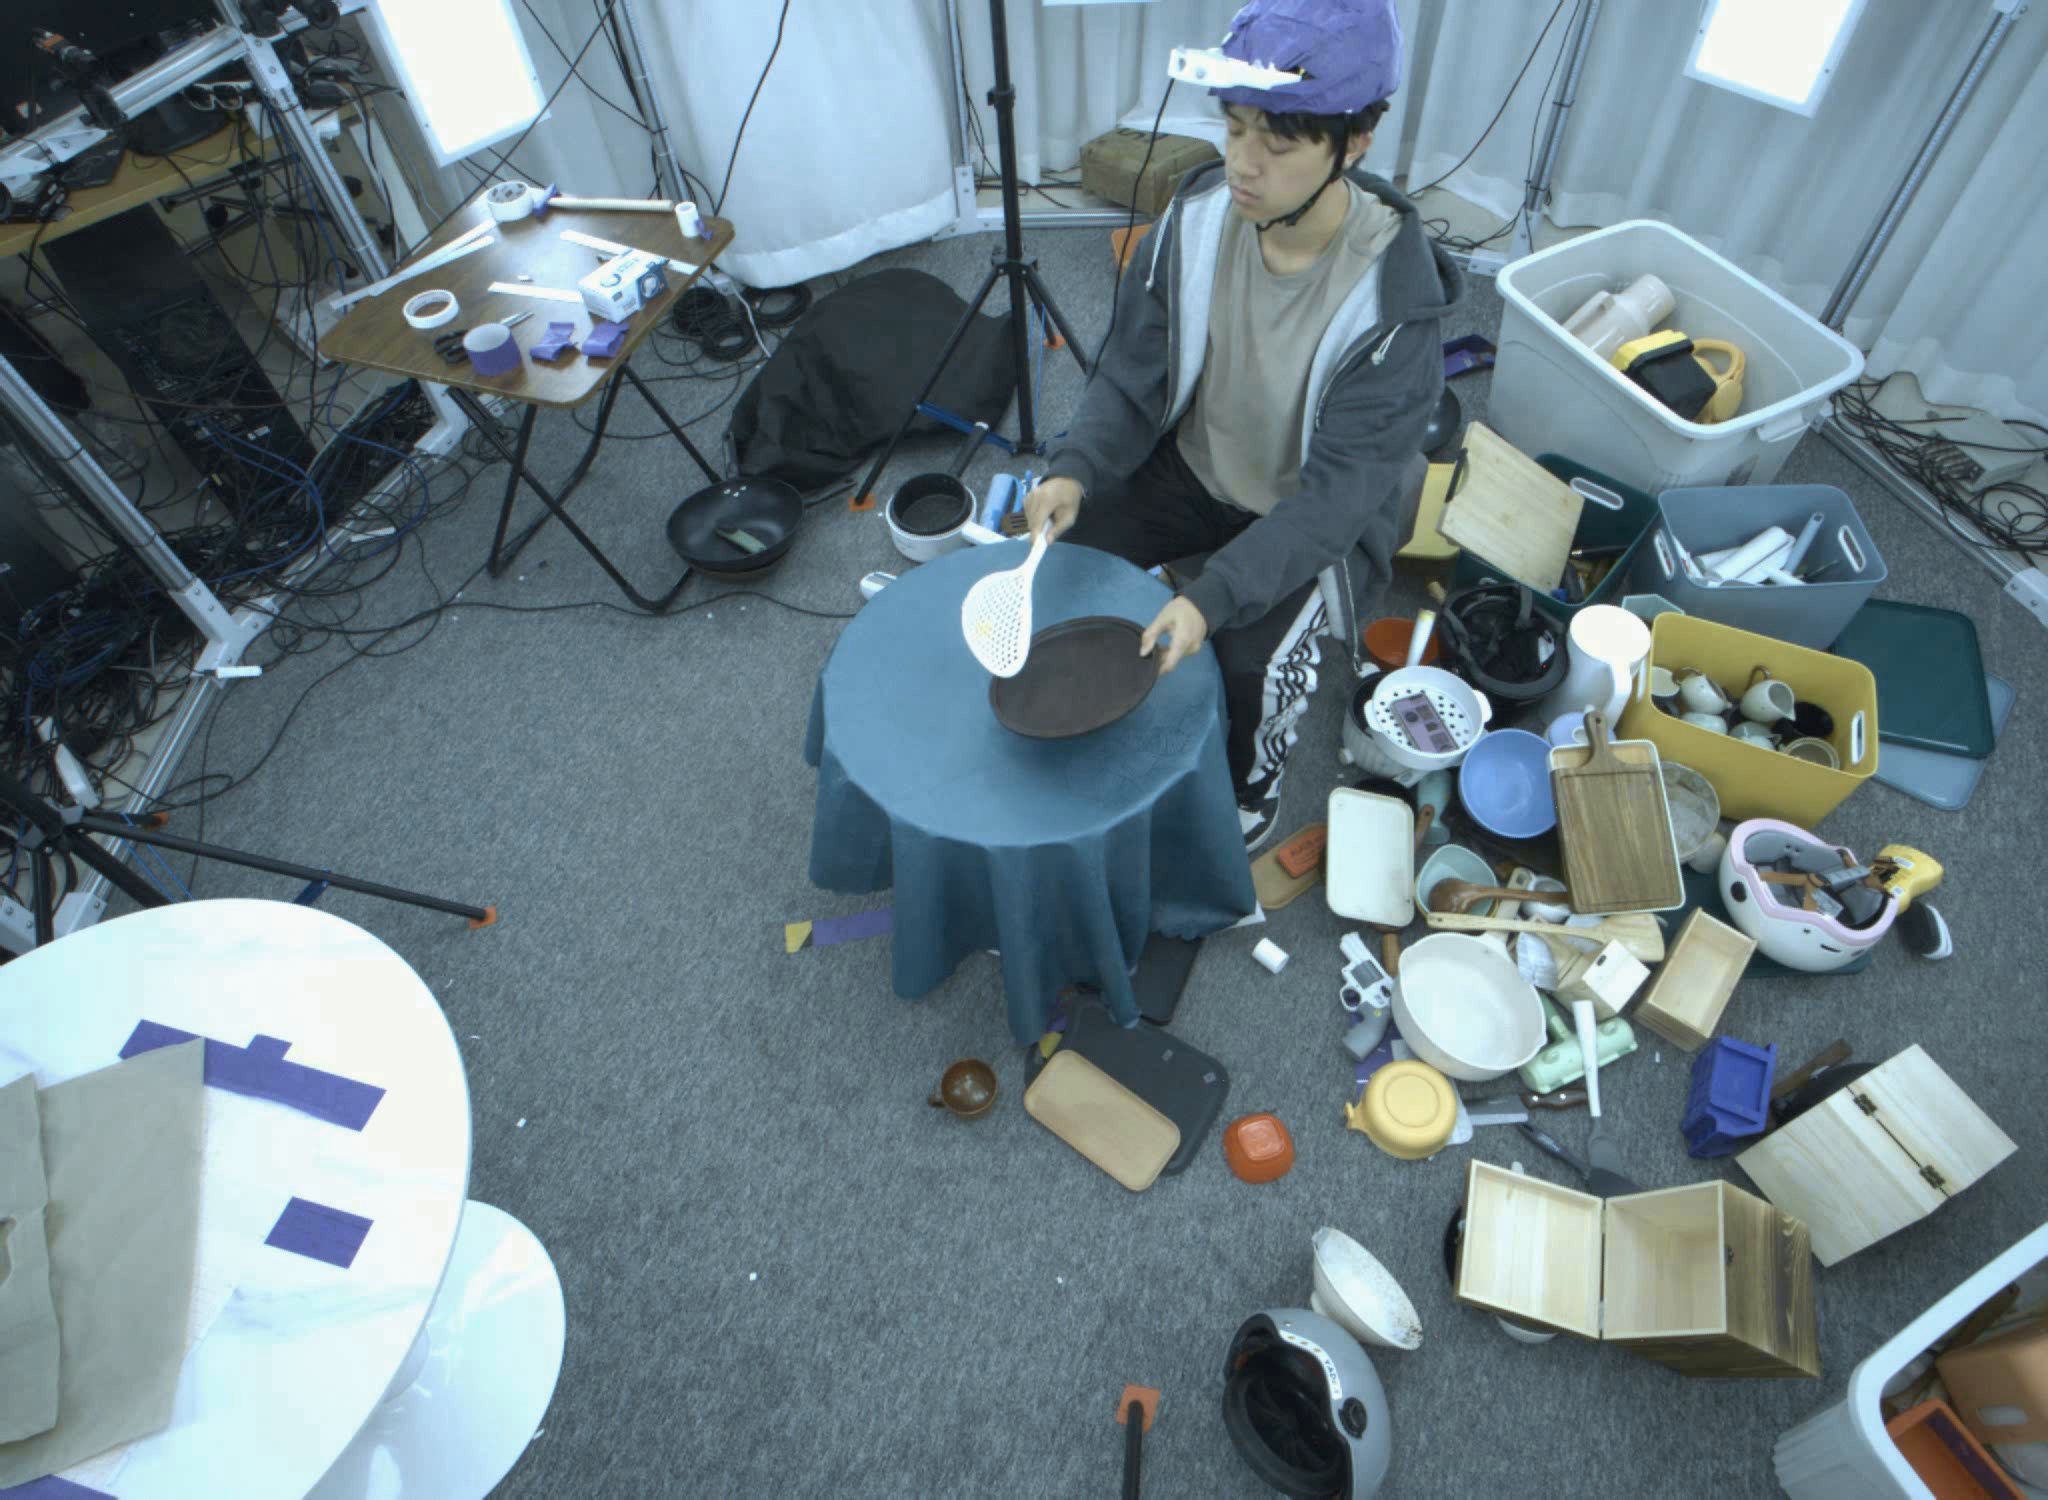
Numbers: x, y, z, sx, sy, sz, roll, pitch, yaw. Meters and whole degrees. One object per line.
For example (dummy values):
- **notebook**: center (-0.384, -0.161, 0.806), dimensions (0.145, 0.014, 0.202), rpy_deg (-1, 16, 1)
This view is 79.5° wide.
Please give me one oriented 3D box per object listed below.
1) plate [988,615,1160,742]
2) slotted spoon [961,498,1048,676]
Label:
- **plate**: center (0.070, -0.103, 1.747), dimensions (0.253, 0.029, 0.252), rpy_deg (-12, 42, 12)
- **slotted spoon**: center (-0.011, -0.252, 1.789), dimensions (0.049, 0.139, 0.347), rpy_deg (-10, 44, 43)
